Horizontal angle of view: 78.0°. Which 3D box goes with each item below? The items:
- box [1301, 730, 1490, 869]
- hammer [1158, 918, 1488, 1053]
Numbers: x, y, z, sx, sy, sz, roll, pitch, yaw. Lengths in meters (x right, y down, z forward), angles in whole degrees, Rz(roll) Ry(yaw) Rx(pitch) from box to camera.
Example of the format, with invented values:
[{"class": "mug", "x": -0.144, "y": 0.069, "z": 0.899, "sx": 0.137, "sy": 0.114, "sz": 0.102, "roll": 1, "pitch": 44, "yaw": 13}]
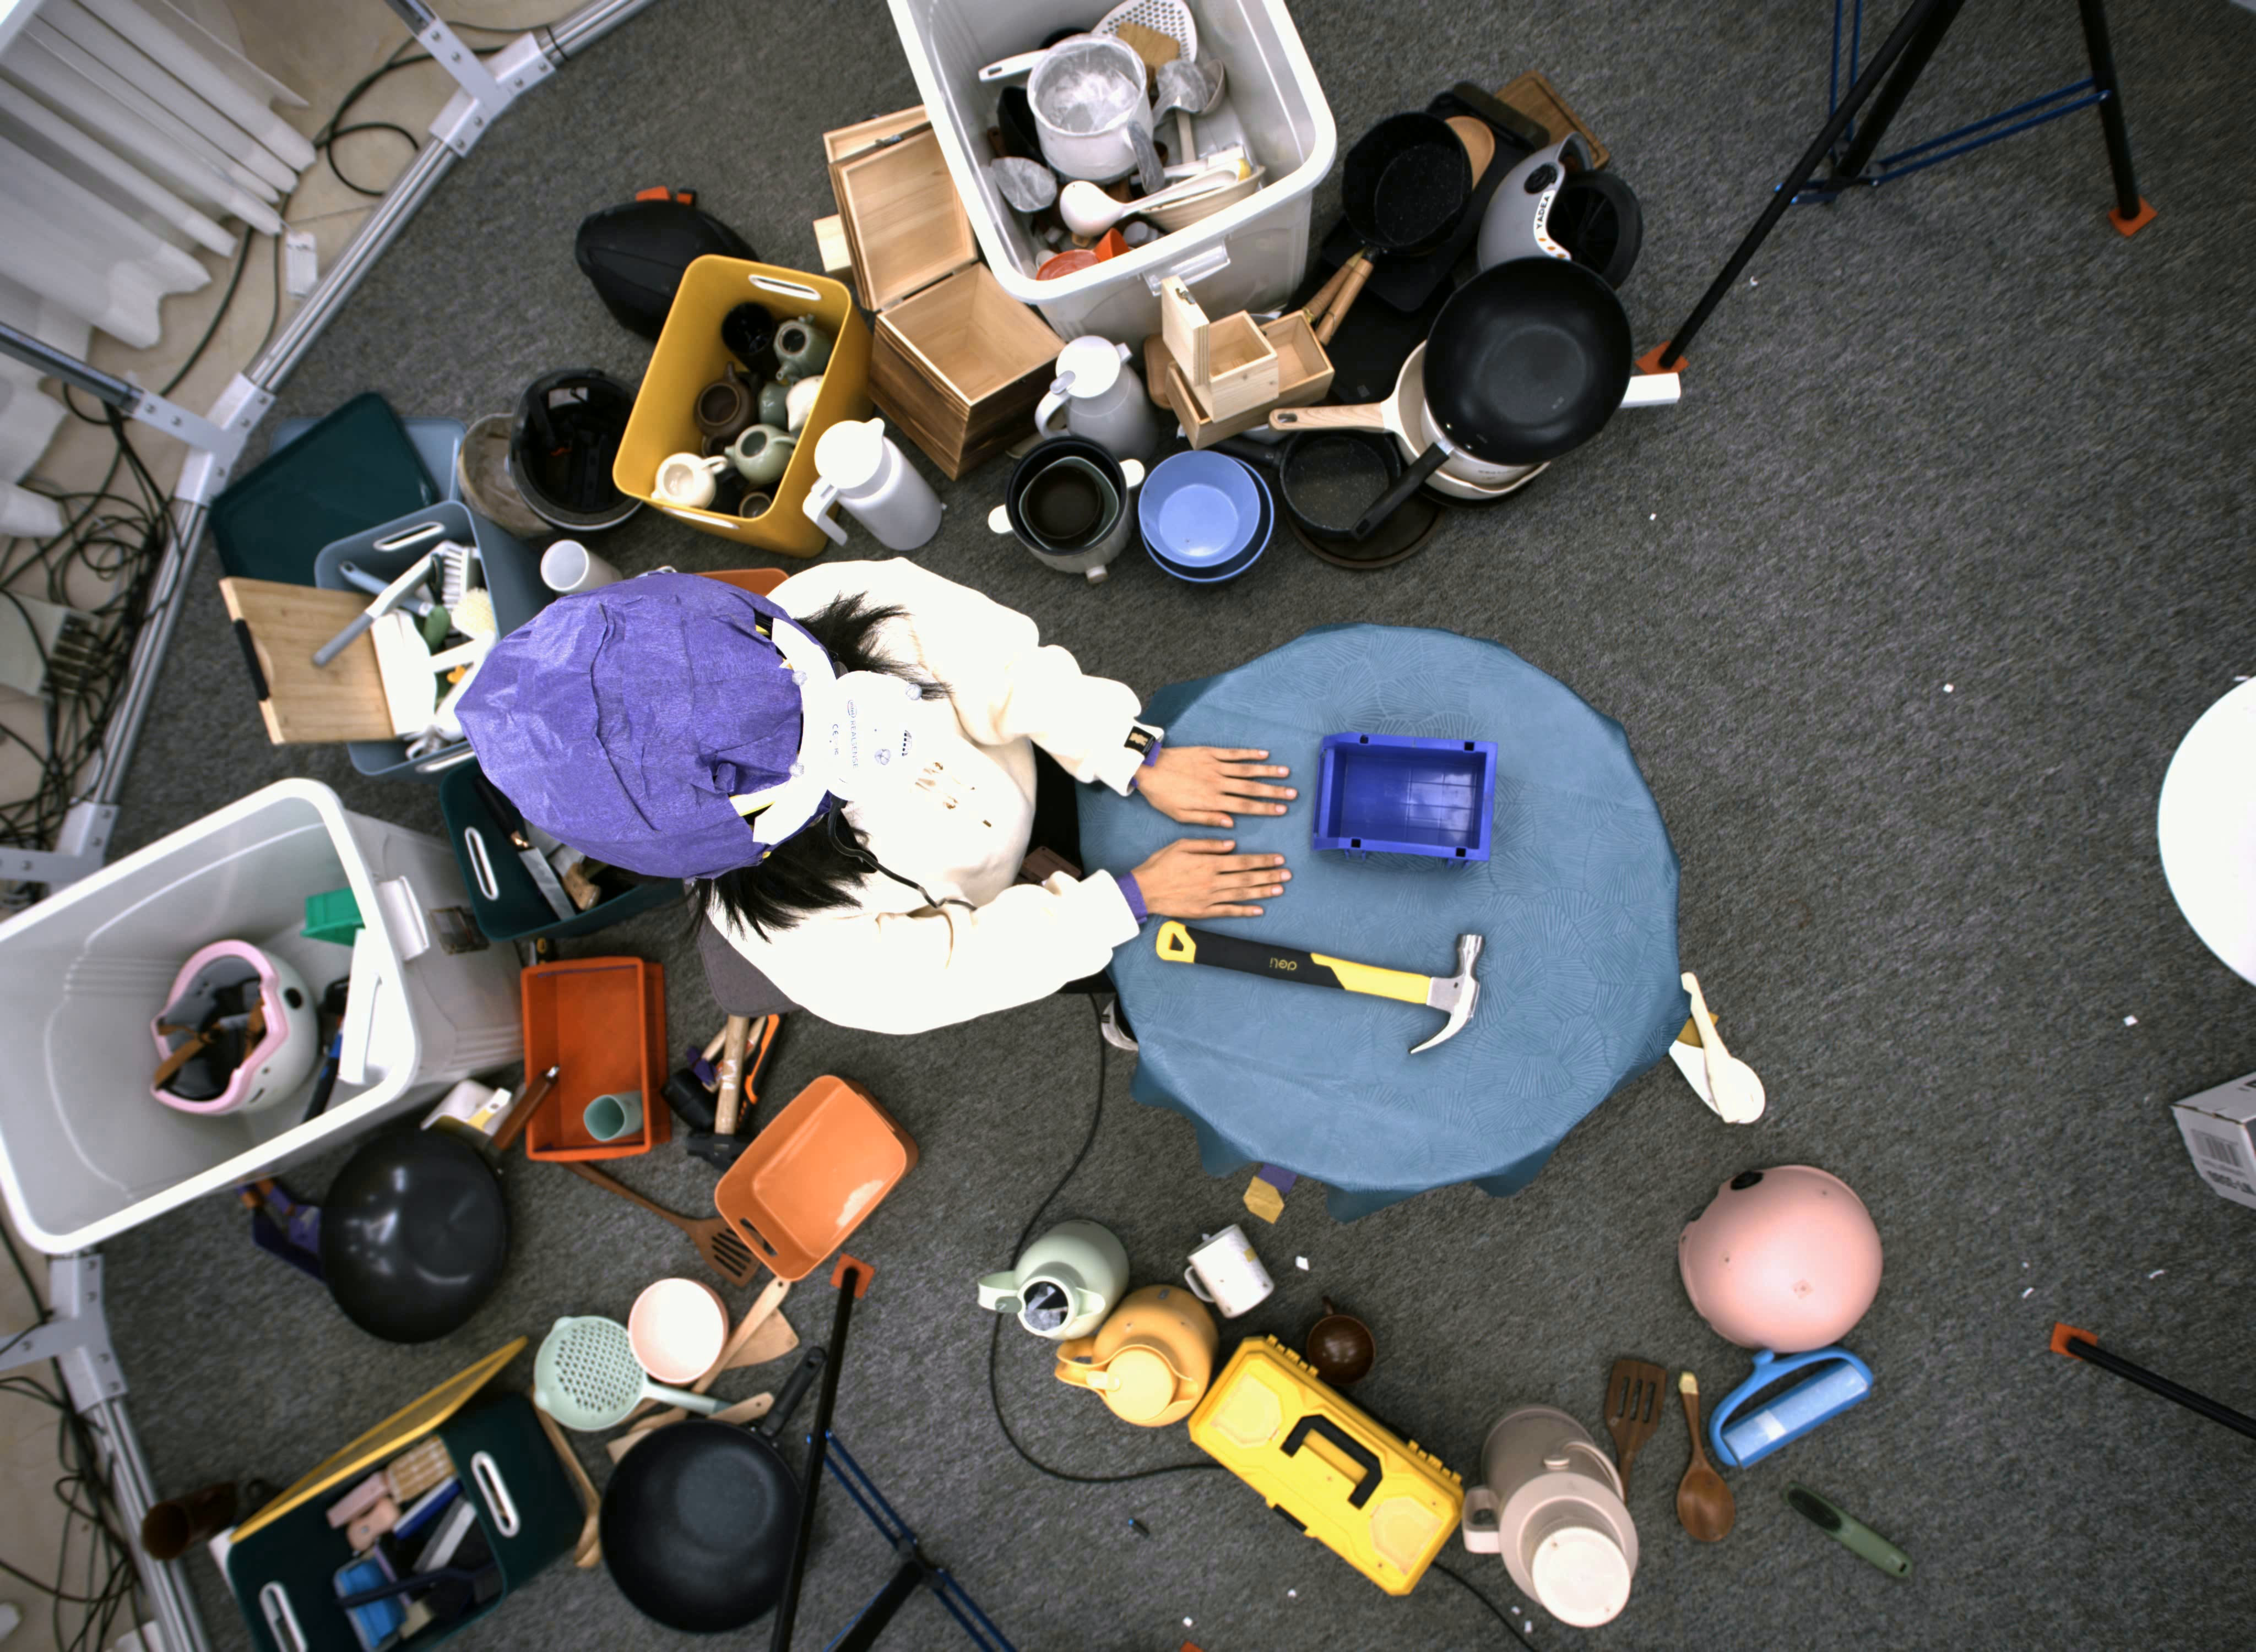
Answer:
[{"class": "box", "x": 0.274, "y": -0.028, "z": 1.424, "sx": 0.180, "sy": 0.082, "sz": 0.124, "roll": 6, "pitch": 87, "yaw": 9}, {"class": "hammer", "x": 0.197, "y": 0.148, "z": 1.452, "sx": 0.339, "sy": 0.032, "sz": 0.131, "roll": 11, "pitch": 90, "yaw": 11}]
